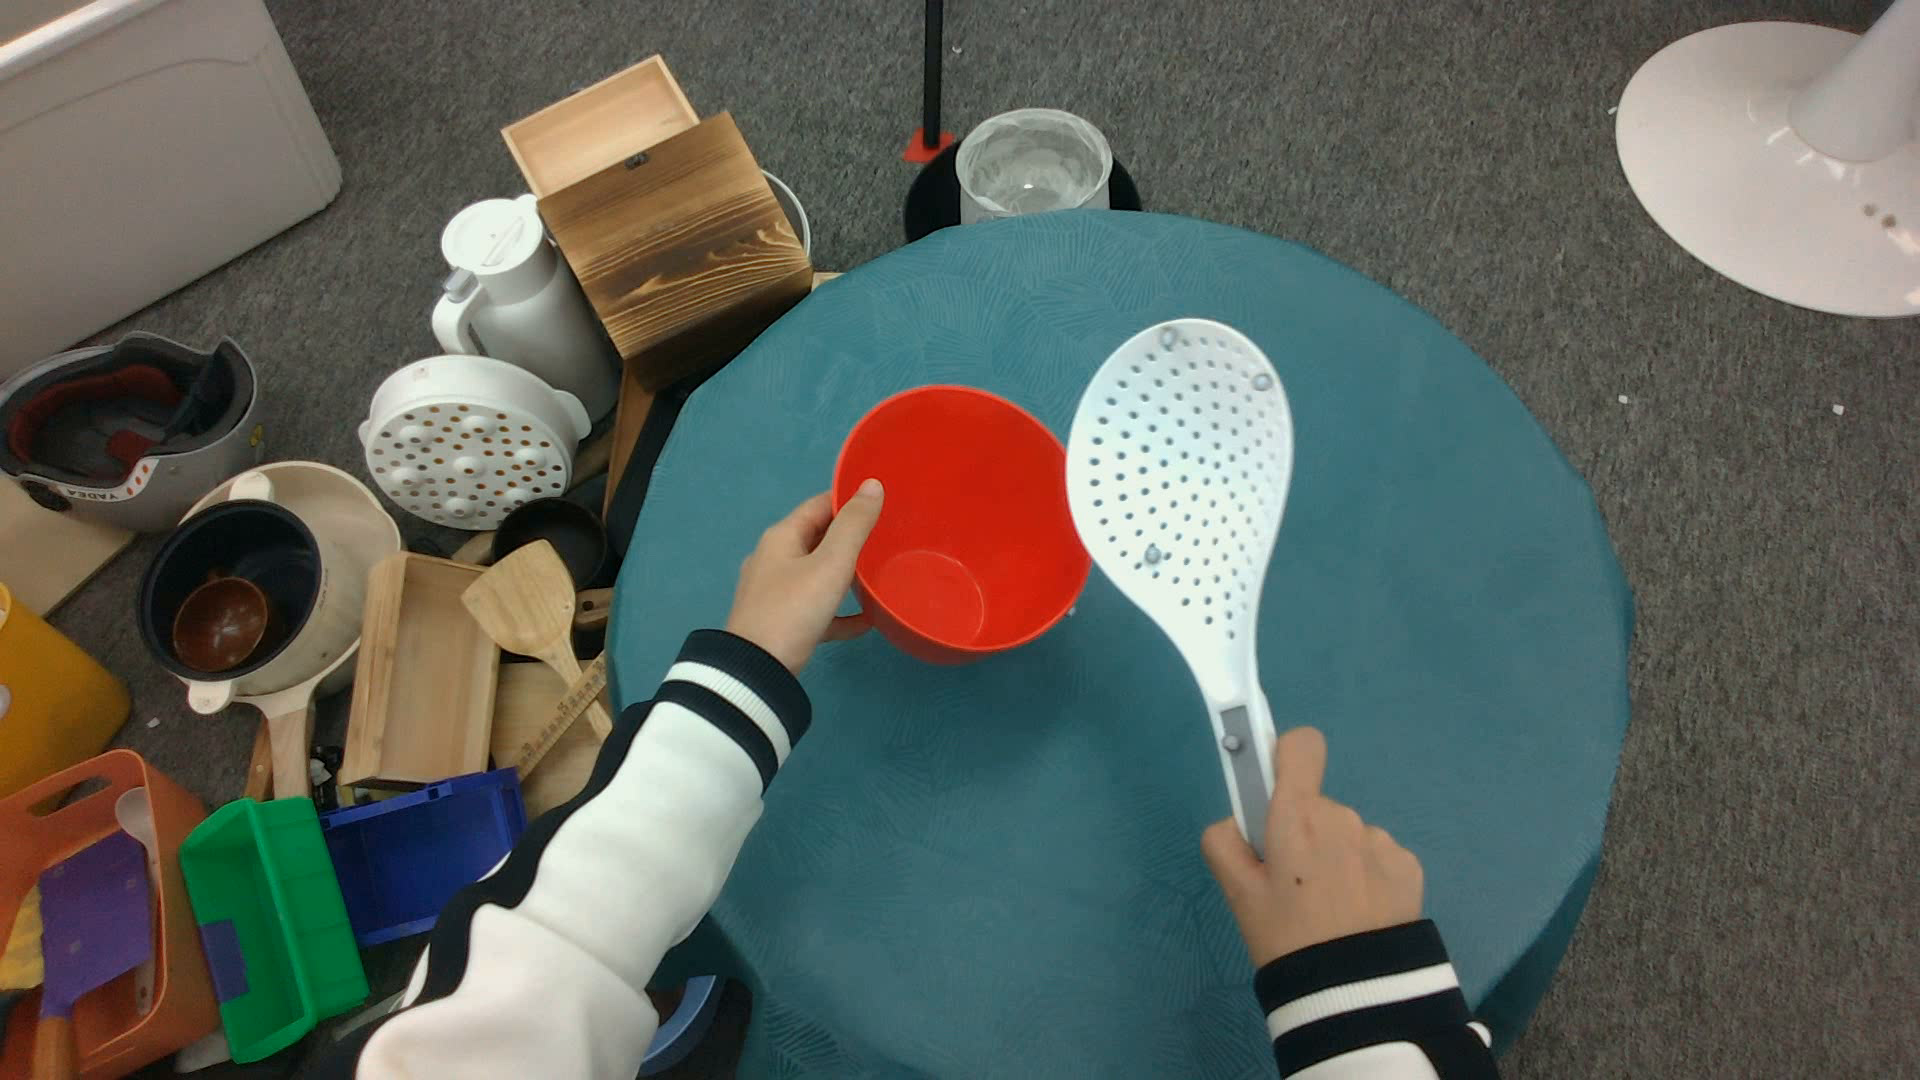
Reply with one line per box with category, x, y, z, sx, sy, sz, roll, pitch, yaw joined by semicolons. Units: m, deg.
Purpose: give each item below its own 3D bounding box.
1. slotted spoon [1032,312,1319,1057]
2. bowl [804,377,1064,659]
slotted spoon;0.111;0.059;0.647;0.046;0.135;0.350;9;65;-42
bowl;-0.025;0.001;0.756;0.148;0.104;0.148;10;59;-18
